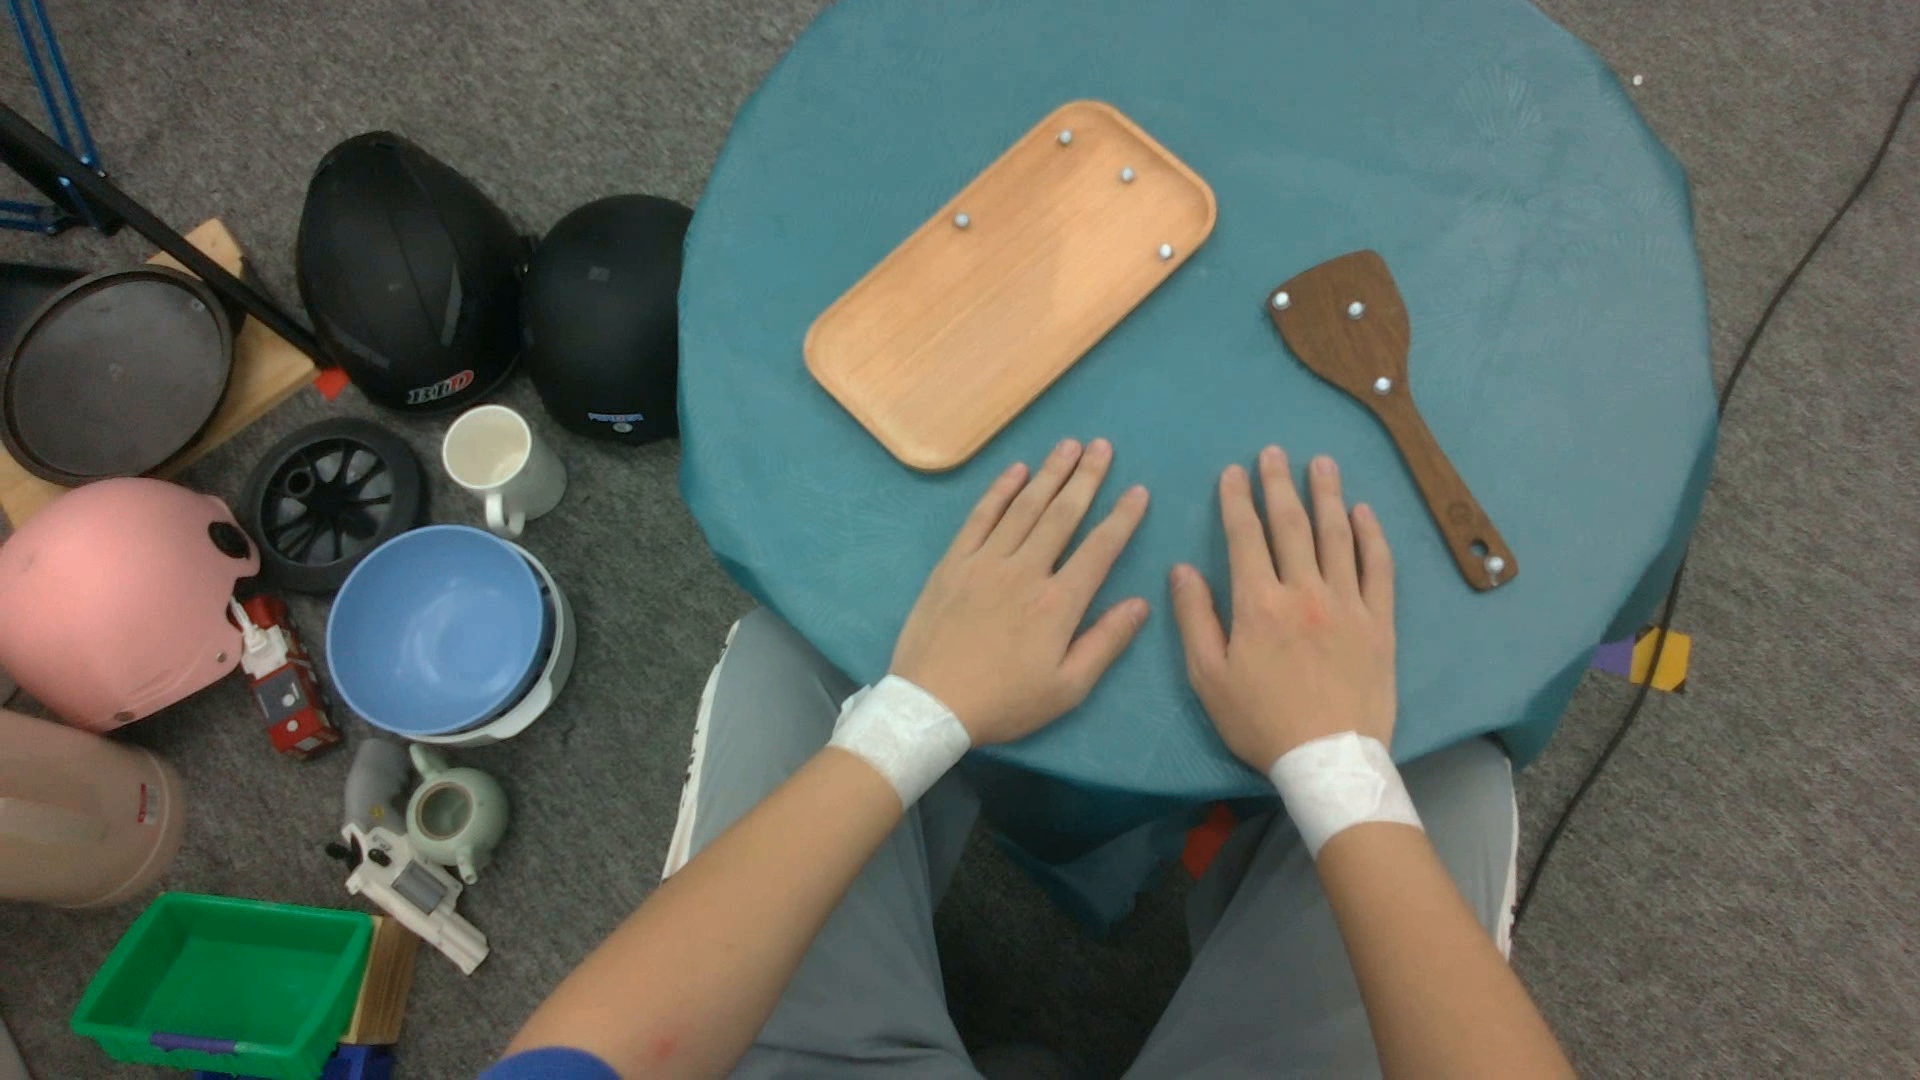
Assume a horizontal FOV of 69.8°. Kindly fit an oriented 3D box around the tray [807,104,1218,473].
[{"bbox_3d":[0.032,-0.153,0.823,0.251,0.023,0.130,-42,70,-9],"label":"tray"}]

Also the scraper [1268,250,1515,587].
[{"bbox_3d":[0.251,-0.069,0.780,0.076,0.011,0.211,-23,72,-2],"label":"scraper"}]
